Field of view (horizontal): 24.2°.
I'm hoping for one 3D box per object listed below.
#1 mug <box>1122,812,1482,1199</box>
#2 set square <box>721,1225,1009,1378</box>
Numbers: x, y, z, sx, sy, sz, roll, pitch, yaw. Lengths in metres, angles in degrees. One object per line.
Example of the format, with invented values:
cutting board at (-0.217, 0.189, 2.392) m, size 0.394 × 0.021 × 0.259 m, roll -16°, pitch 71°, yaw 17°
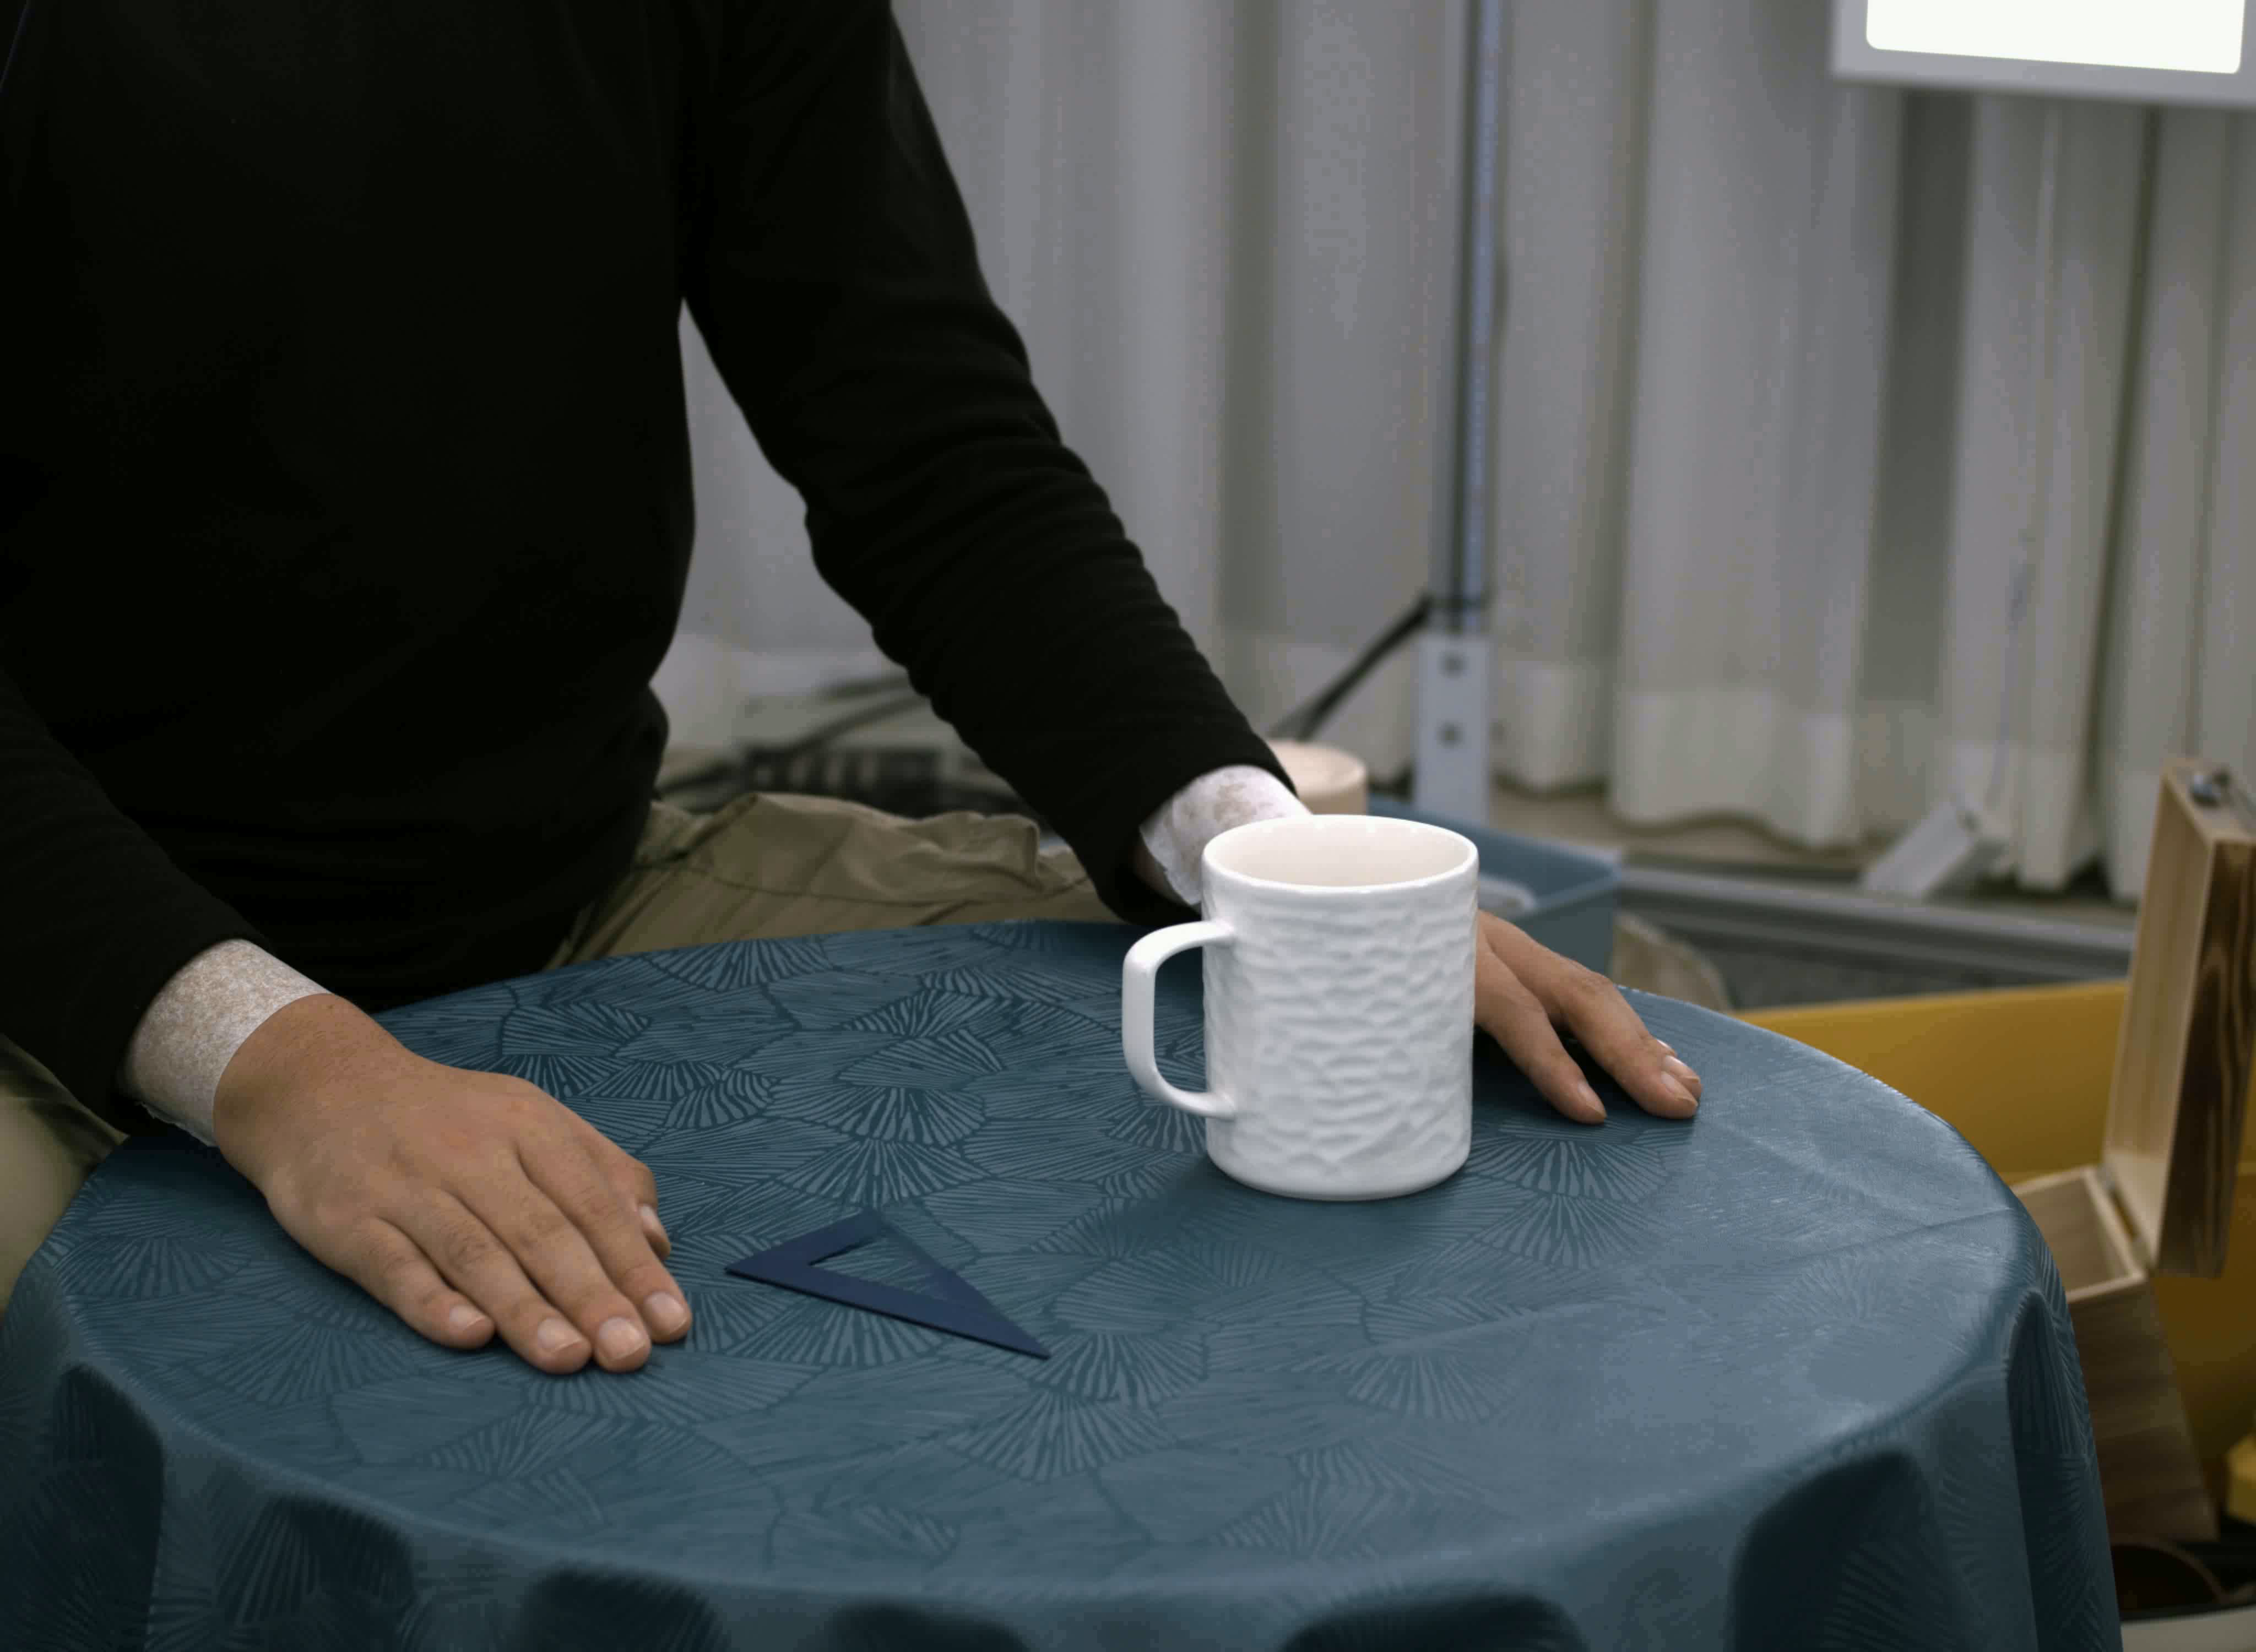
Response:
mug at (0.052, 0.057, 1.627) m, size 0.119 × 0.103 × 0.084 m, roll -8°, pitch 18°, yaw -29°
set square at (-0.079, 0.137, 1.519) m, size 0.061 × 0.006 × 0.130 m, roll -3°, pitch 16°, yaw -20°
